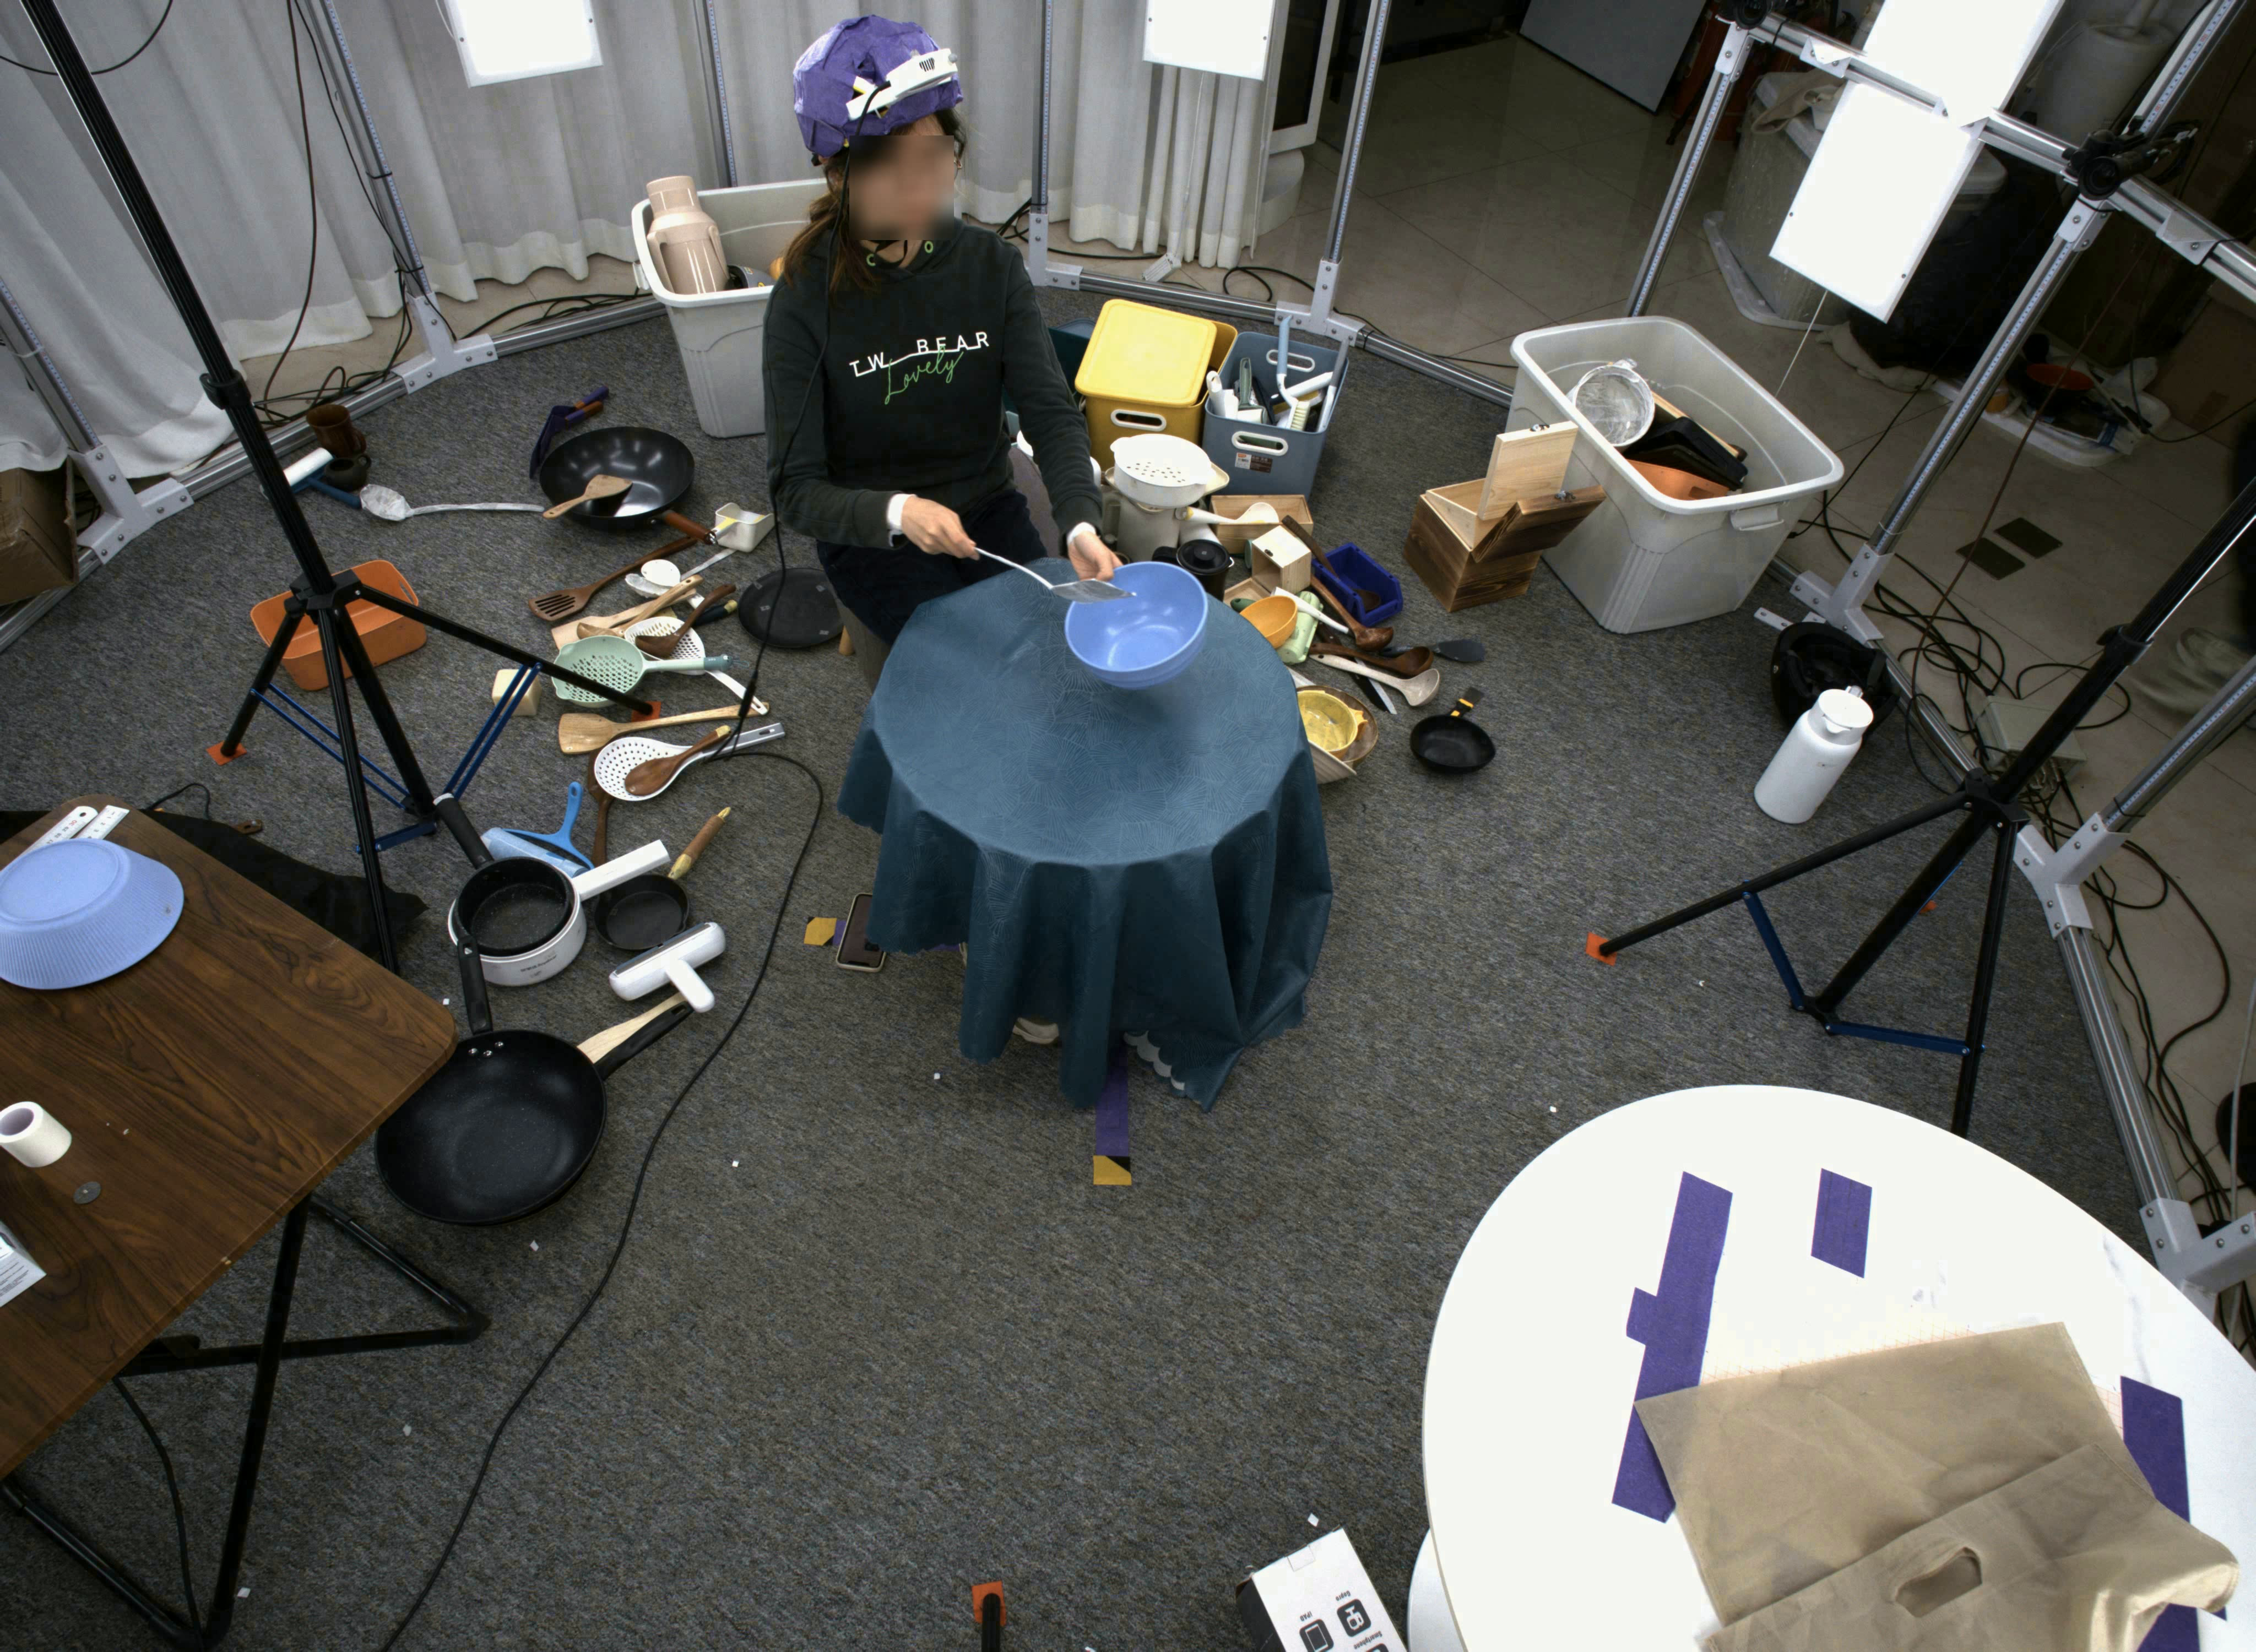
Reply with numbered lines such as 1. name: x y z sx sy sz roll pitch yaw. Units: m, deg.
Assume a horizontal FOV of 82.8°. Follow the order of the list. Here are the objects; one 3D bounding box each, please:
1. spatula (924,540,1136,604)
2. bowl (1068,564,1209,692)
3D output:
1. spatula: -0.150 -0.350 1.729 0.370 0.044 0.098 27 13 33
2. bowl: 0.024 -0.258 1.775 0.196 0.093 0.201 -8 54 11
